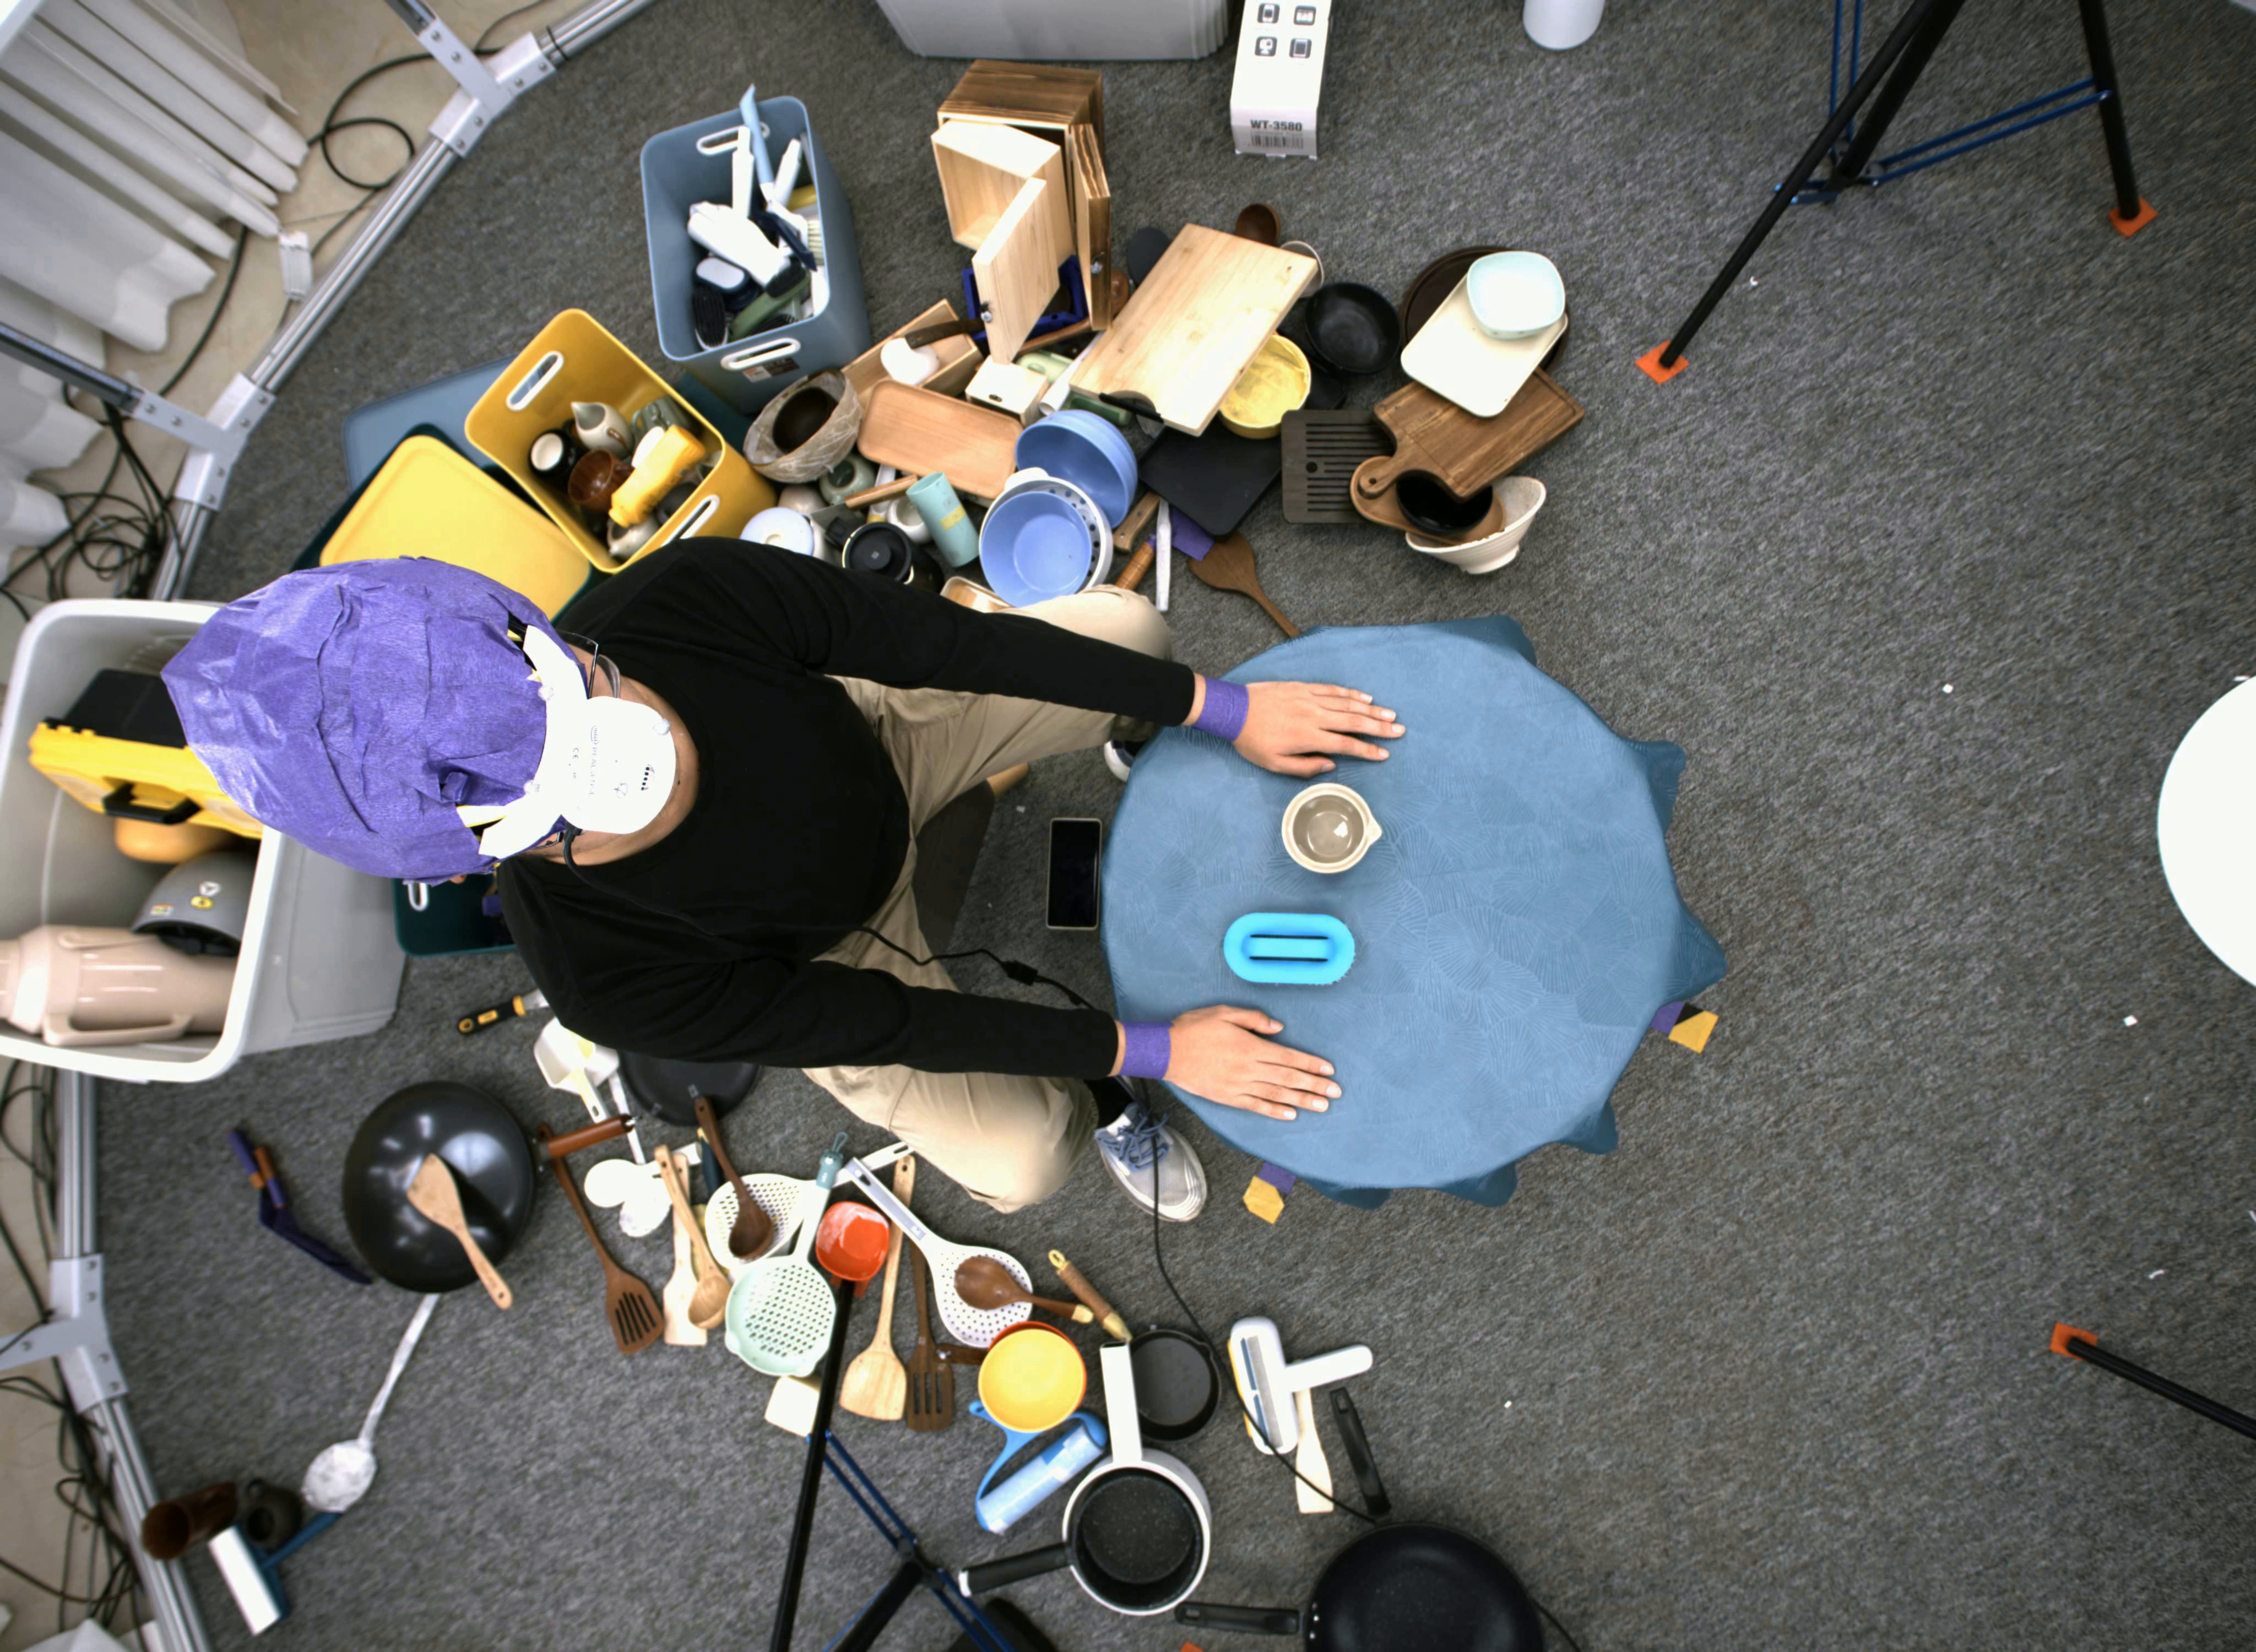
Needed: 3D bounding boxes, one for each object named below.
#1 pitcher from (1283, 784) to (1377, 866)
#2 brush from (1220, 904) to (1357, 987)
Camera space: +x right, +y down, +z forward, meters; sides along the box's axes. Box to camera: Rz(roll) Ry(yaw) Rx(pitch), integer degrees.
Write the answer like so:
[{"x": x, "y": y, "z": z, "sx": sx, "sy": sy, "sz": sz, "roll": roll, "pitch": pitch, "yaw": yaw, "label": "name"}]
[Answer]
[{"x": 0.209, "y": 0.002, "z": 1.436, "sx": 0.096, "sy": 0.071, "sz": 0.083, "roll": 11, "pitch": 86, "yaw": 9, "label": "pitcher"}, {"x": 0.166, "y": 0.124, "z": 1.442, "sx": 0.142, "sy": 0.063, "sz": 0.084, "roll": 2, "pitch": 91, "yaw": 12, "label": "brush"}]
